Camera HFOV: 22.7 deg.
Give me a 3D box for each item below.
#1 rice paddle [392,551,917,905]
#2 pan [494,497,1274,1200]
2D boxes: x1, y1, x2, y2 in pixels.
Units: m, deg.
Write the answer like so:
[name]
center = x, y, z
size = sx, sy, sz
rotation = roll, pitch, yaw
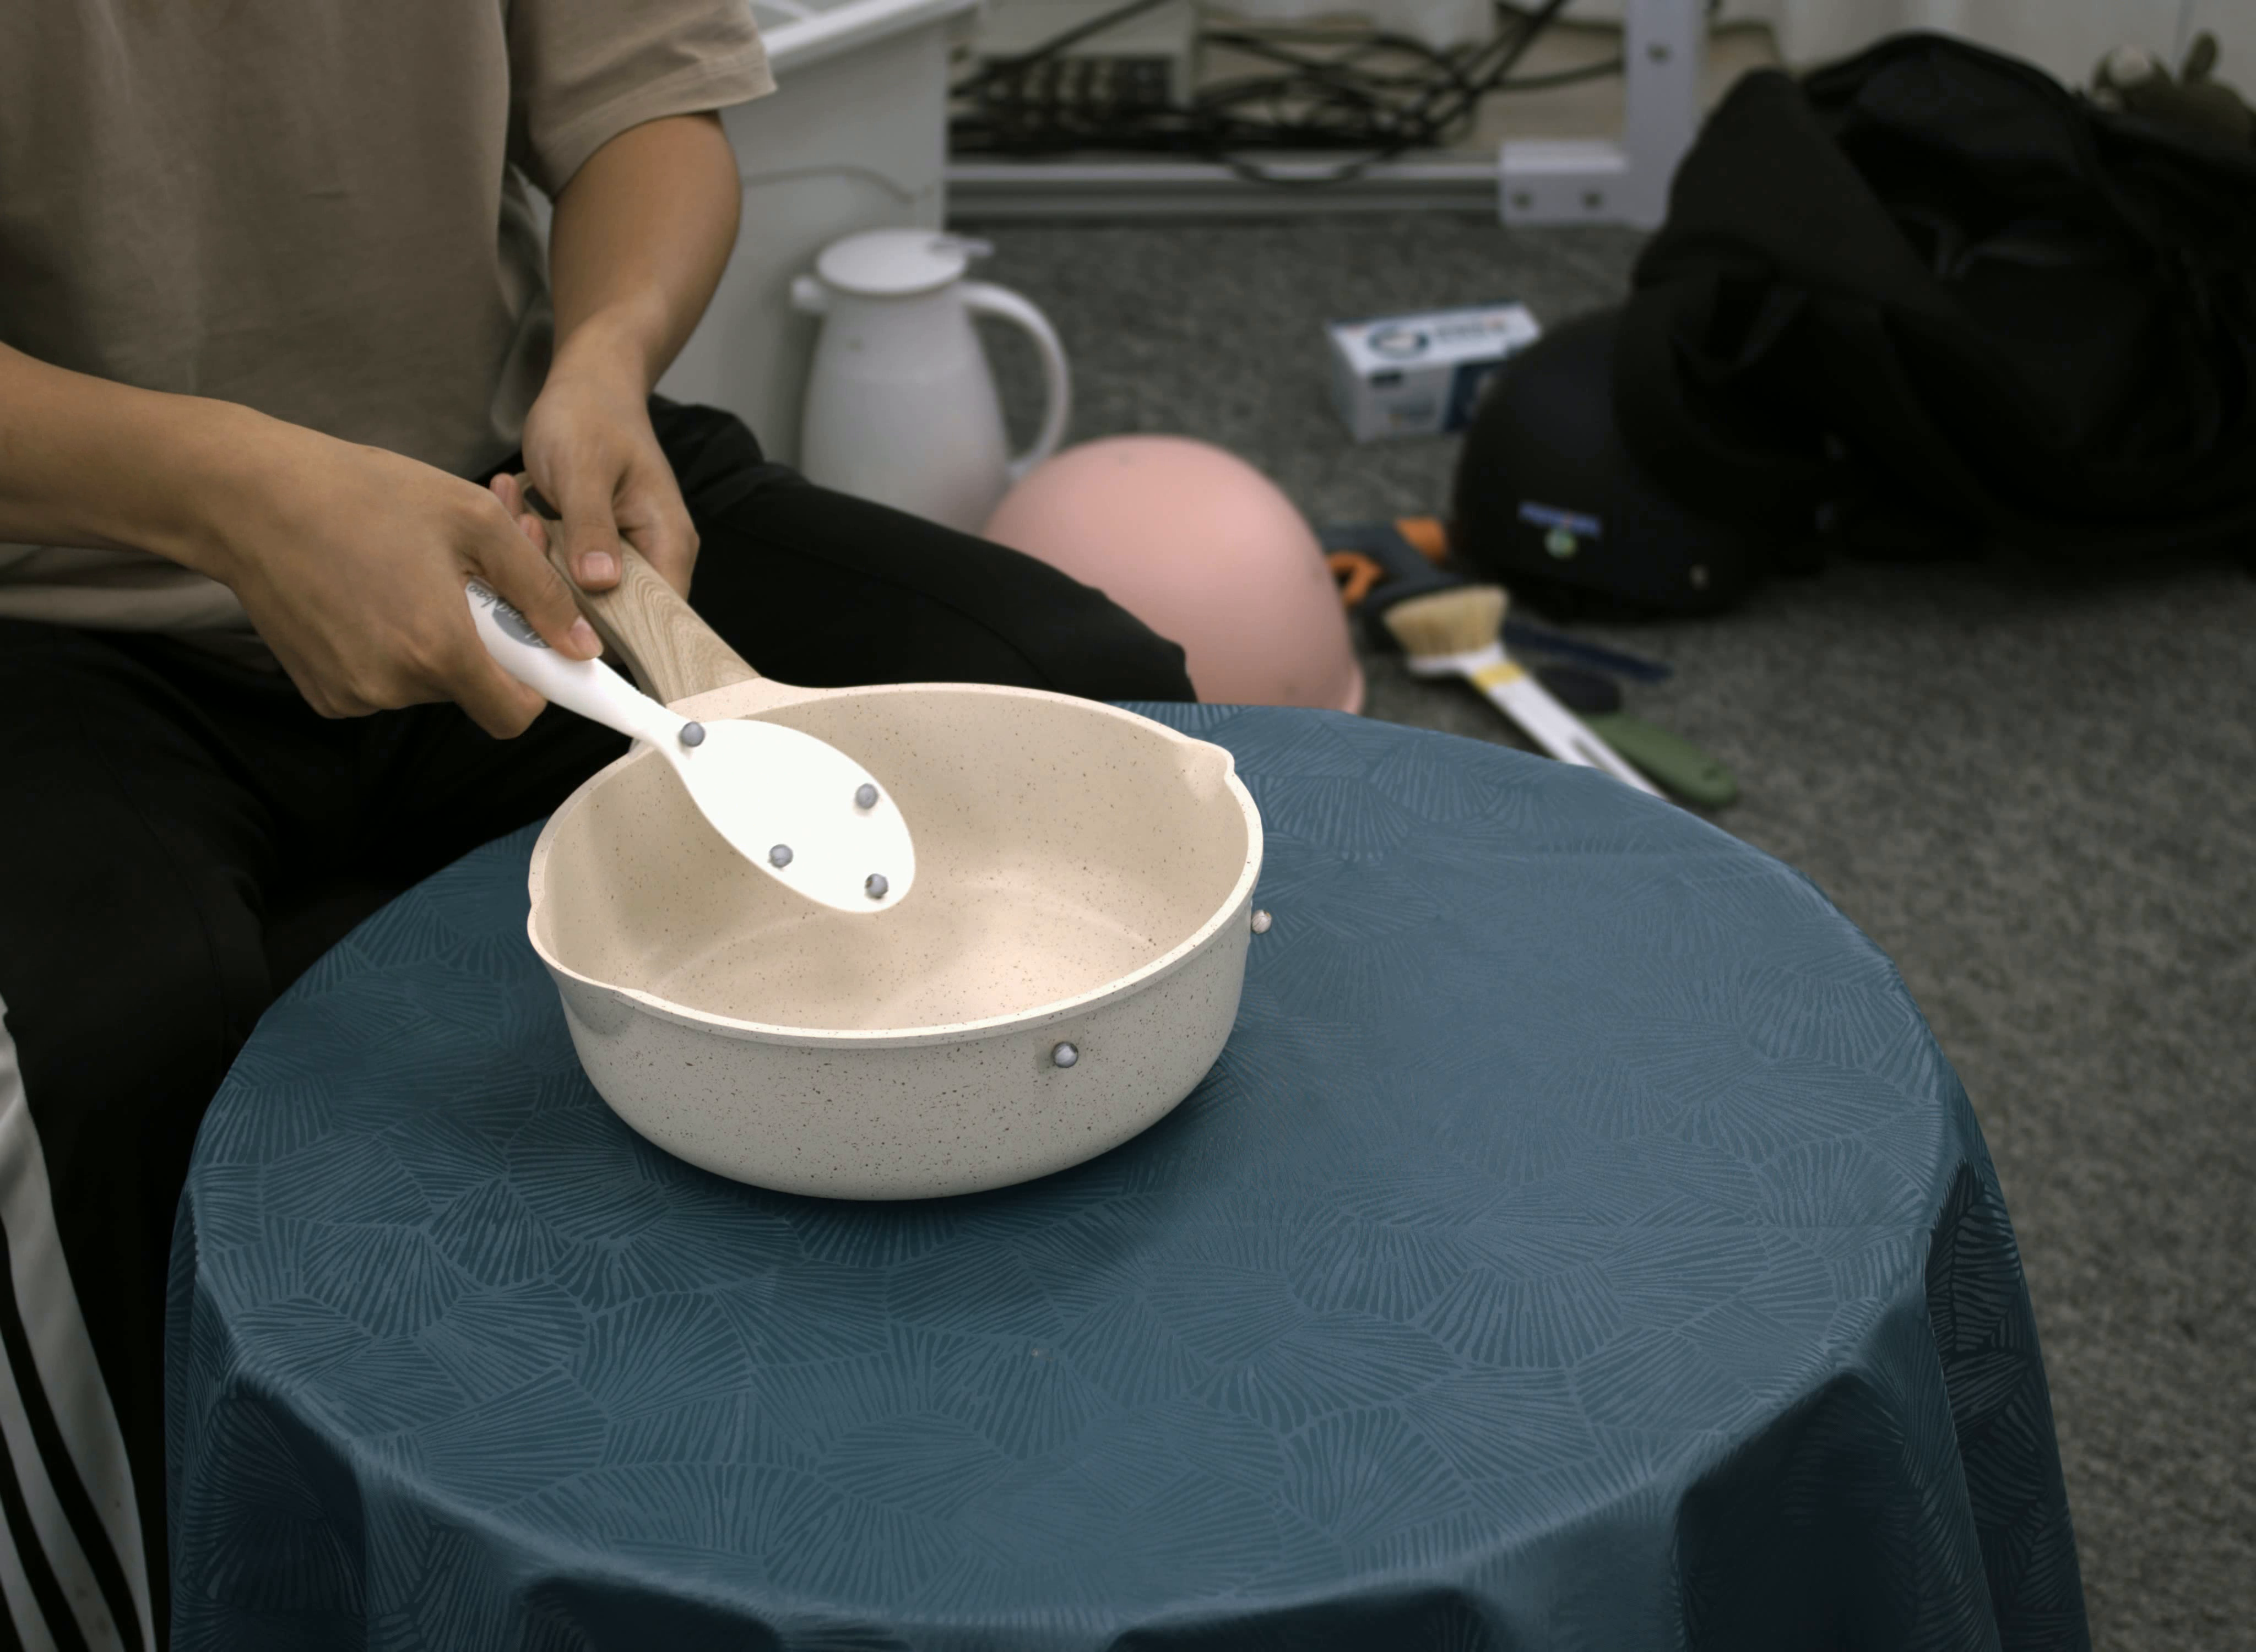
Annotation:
[rice paddle]
center = -0.158, -0.033, 1.942
size = 0.204, 0.029, 0.070
rotation = 29, 45, -17
[pan]
center = -0.118, 0.001, 2.001
size = 0.265, 0.101, 0.437
rotation = -18, 31, -24
